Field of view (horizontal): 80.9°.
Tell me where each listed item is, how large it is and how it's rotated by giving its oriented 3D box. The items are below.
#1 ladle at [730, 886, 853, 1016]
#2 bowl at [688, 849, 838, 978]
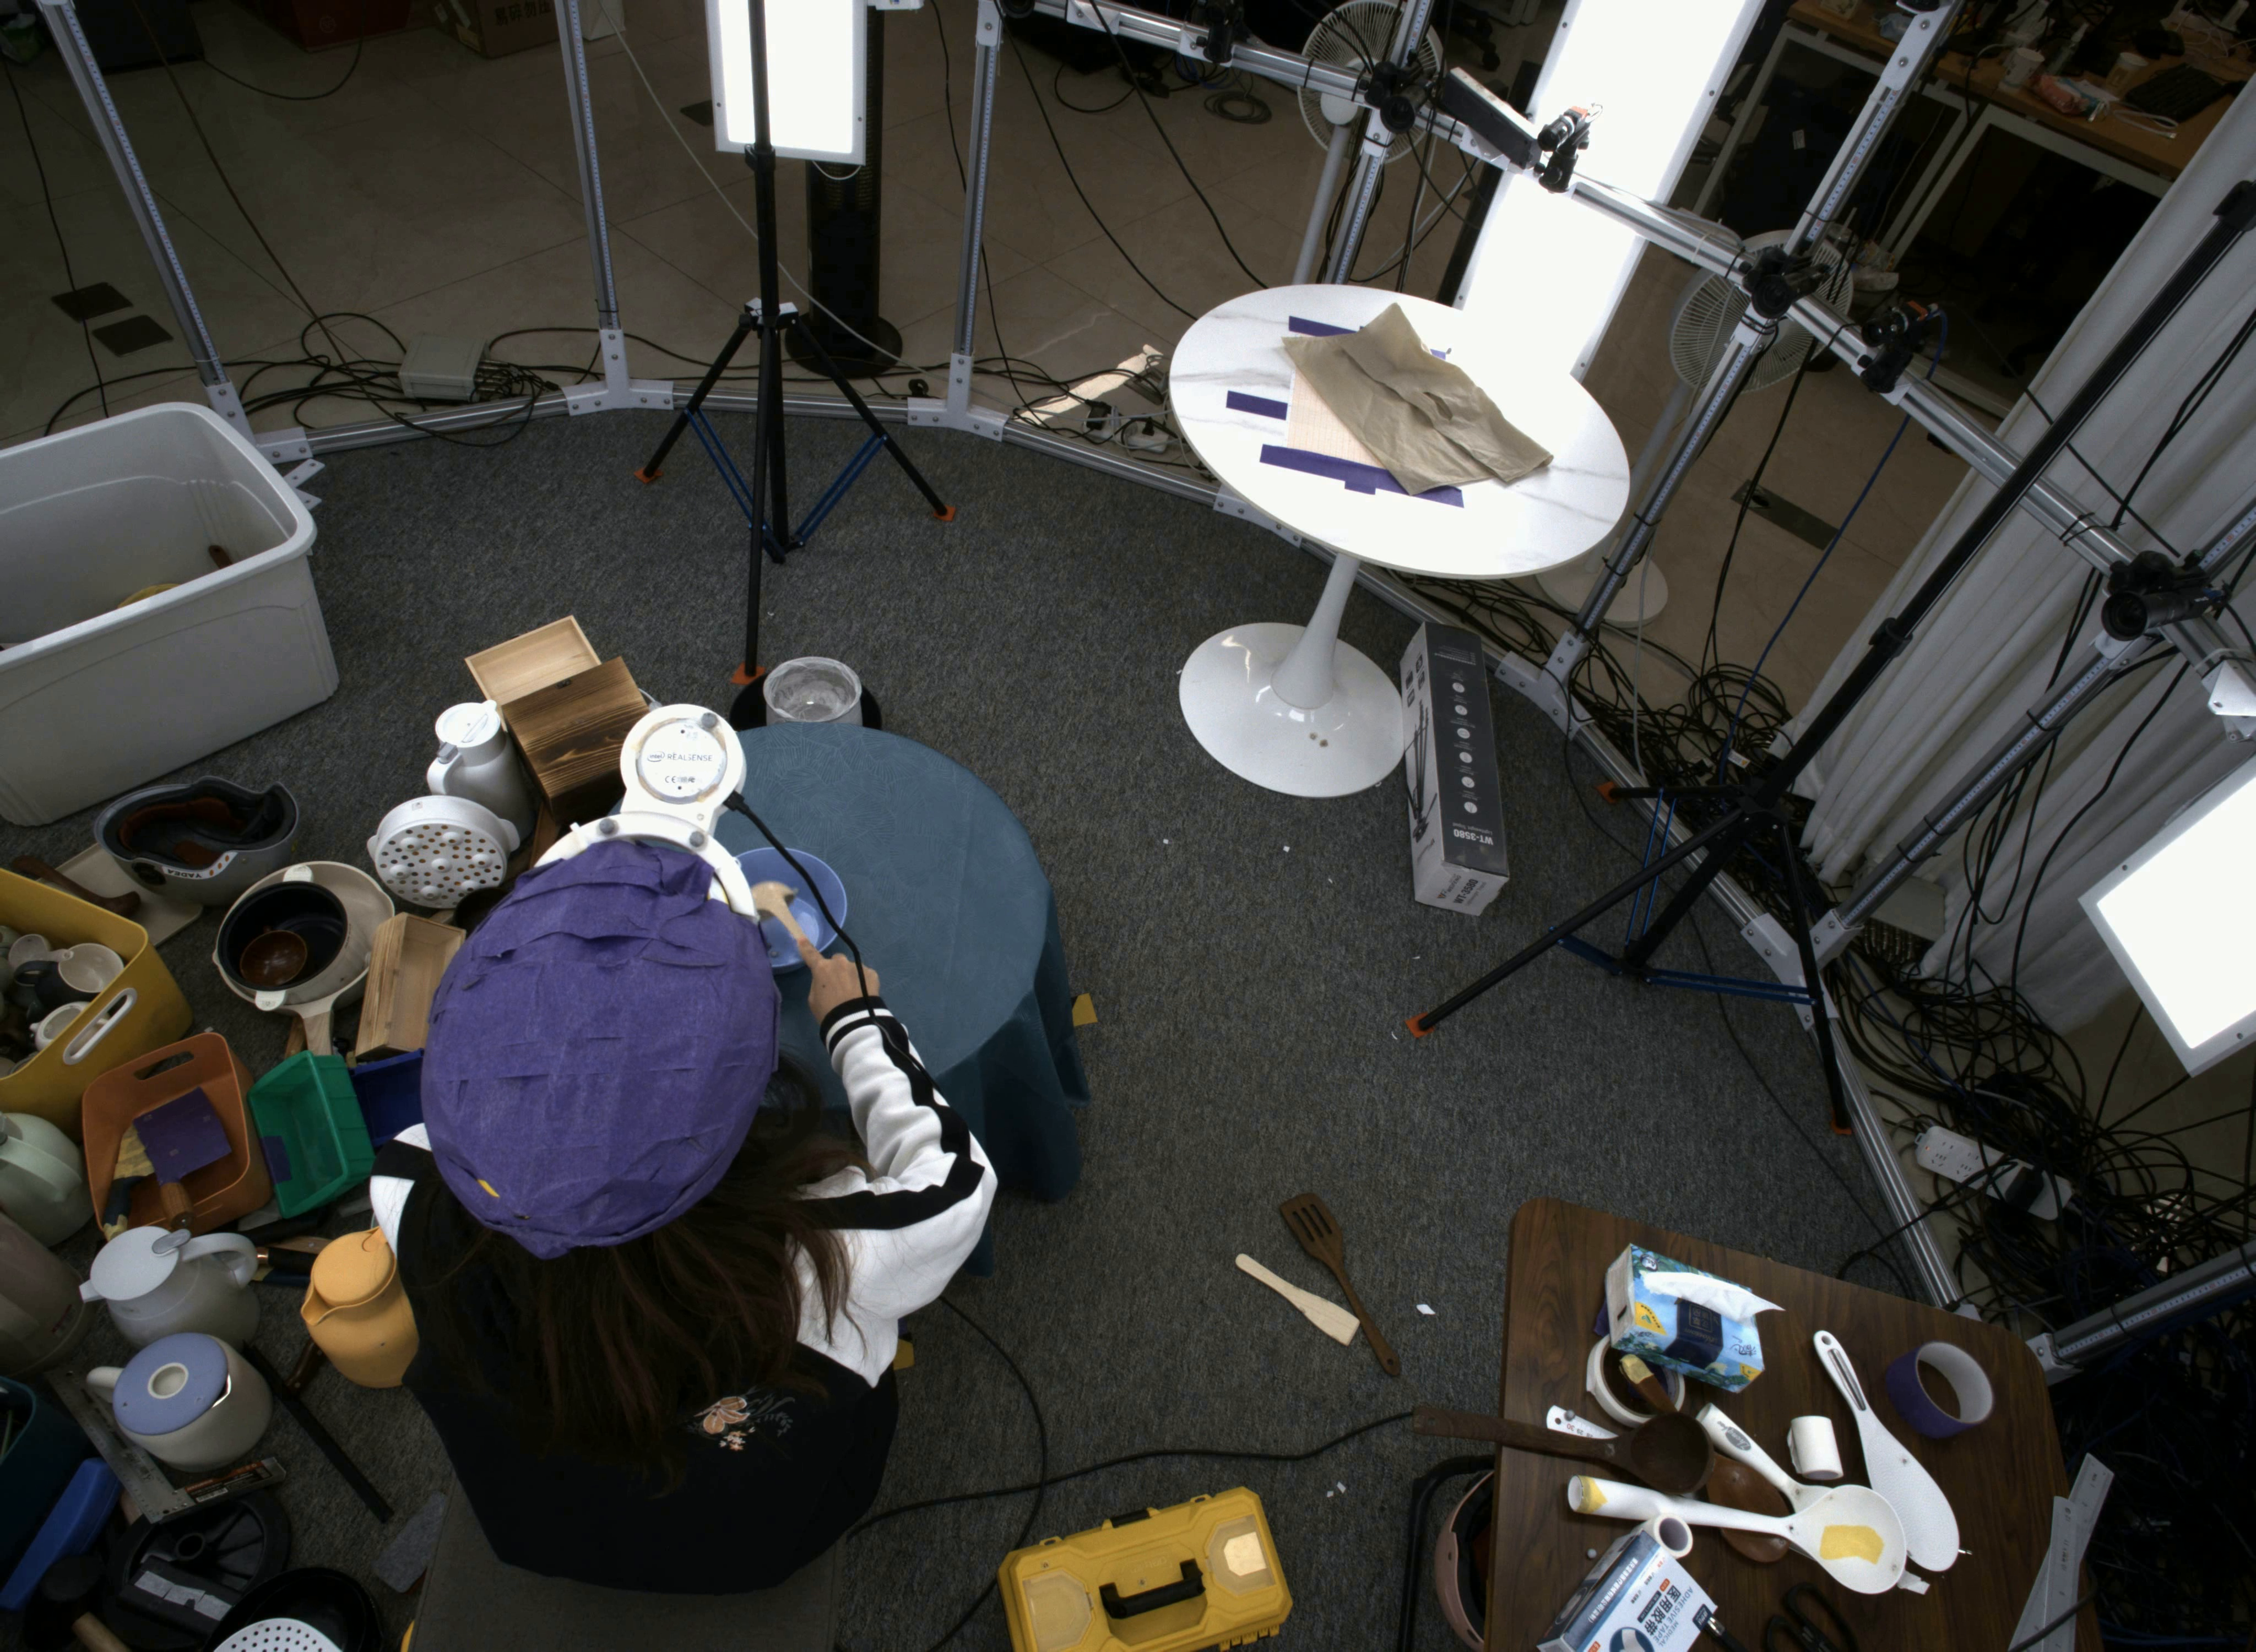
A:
[{"bbox_3d":[-0.385,0.160,1.512,0.072,0.075,0.246,-28,54,-29],"label":"ladle"},{"bbox_3d":[-0.443,0.117,1.582,0.175,0.072,0.173,7,52,-8],"label":"bowl"}]
